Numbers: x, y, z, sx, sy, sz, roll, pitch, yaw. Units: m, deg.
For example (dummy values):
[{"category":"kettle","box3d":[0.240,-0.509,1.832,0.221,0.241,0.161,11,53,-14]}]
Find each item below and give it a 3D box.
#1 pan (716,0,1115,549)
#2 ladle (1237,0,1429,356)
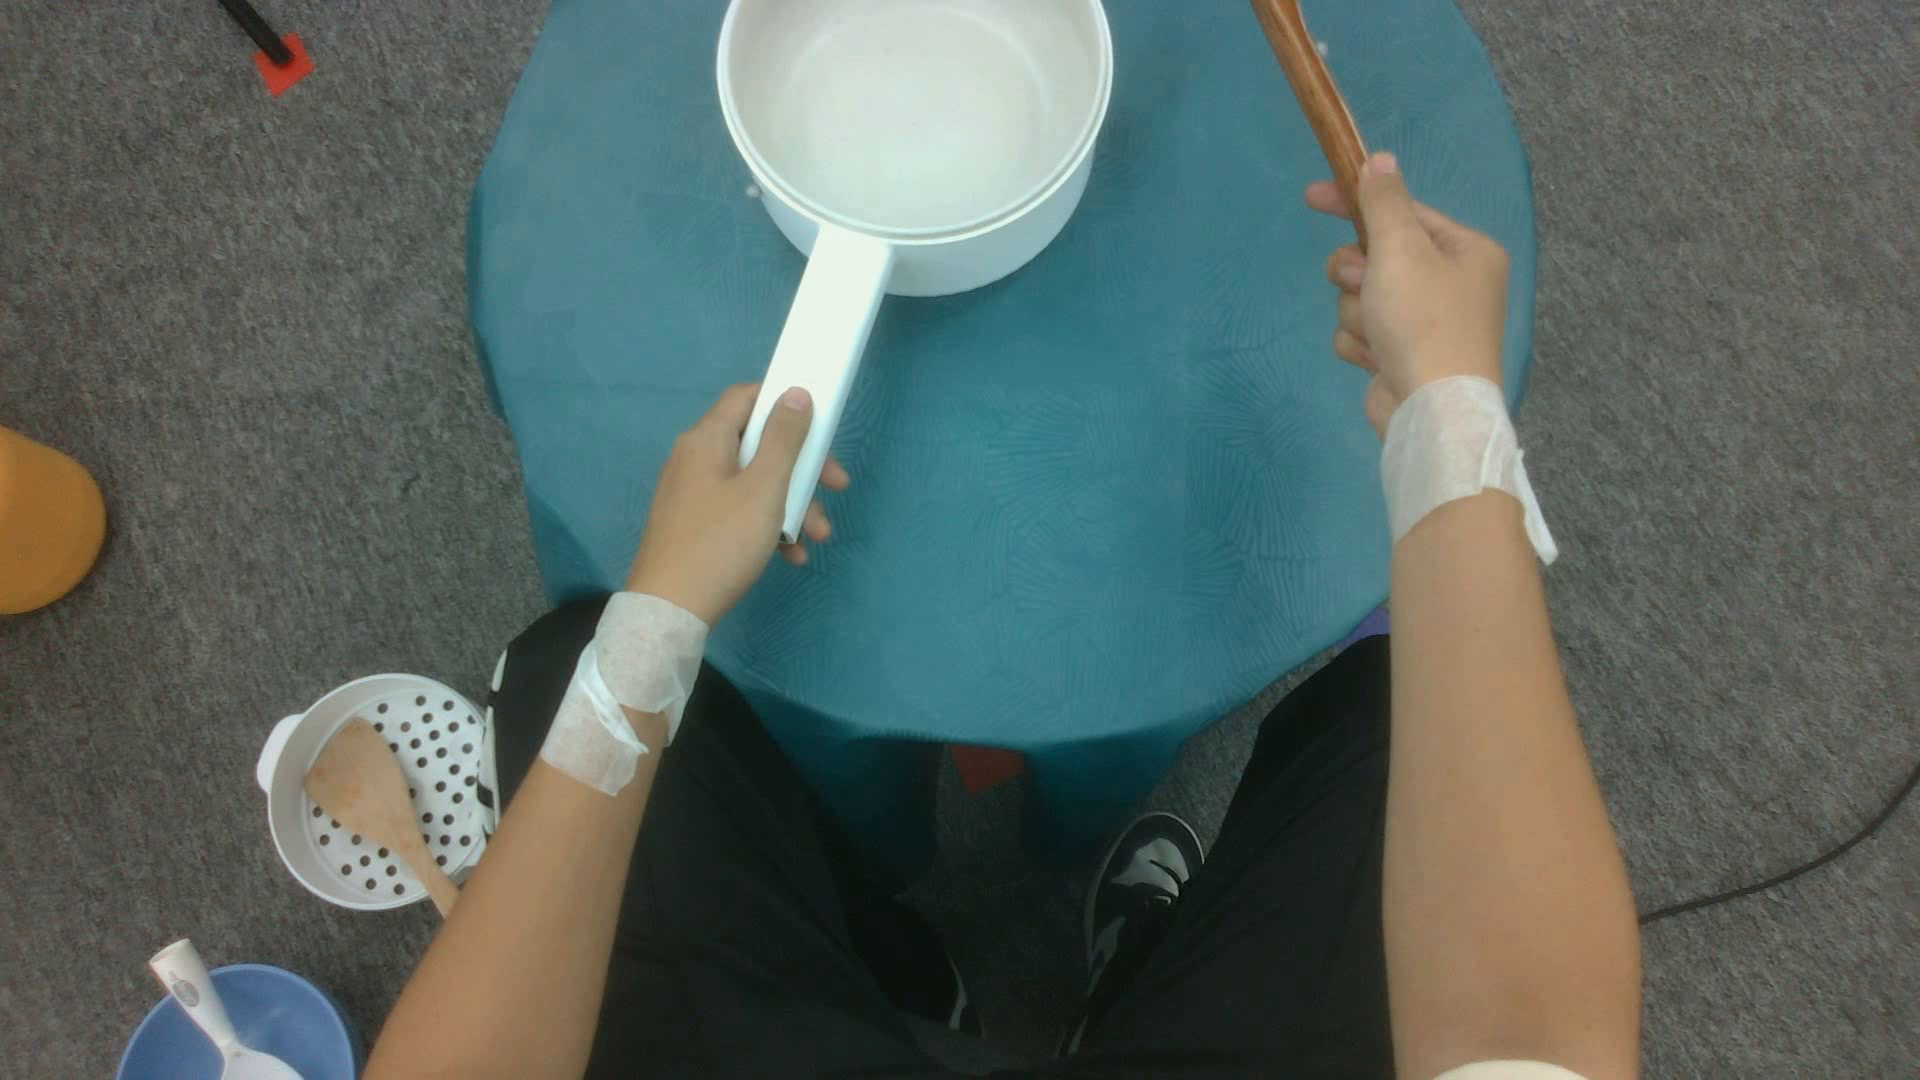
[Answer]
[{"category":"pan","box3d":[-0.042,-0.158,0.745,0.201,0.102,0.355,17,77,5]},{"category":"ladle","box3d":[0.194,-0.214,0.655,0.076,0.082,0.275,-19,68,3]}]
